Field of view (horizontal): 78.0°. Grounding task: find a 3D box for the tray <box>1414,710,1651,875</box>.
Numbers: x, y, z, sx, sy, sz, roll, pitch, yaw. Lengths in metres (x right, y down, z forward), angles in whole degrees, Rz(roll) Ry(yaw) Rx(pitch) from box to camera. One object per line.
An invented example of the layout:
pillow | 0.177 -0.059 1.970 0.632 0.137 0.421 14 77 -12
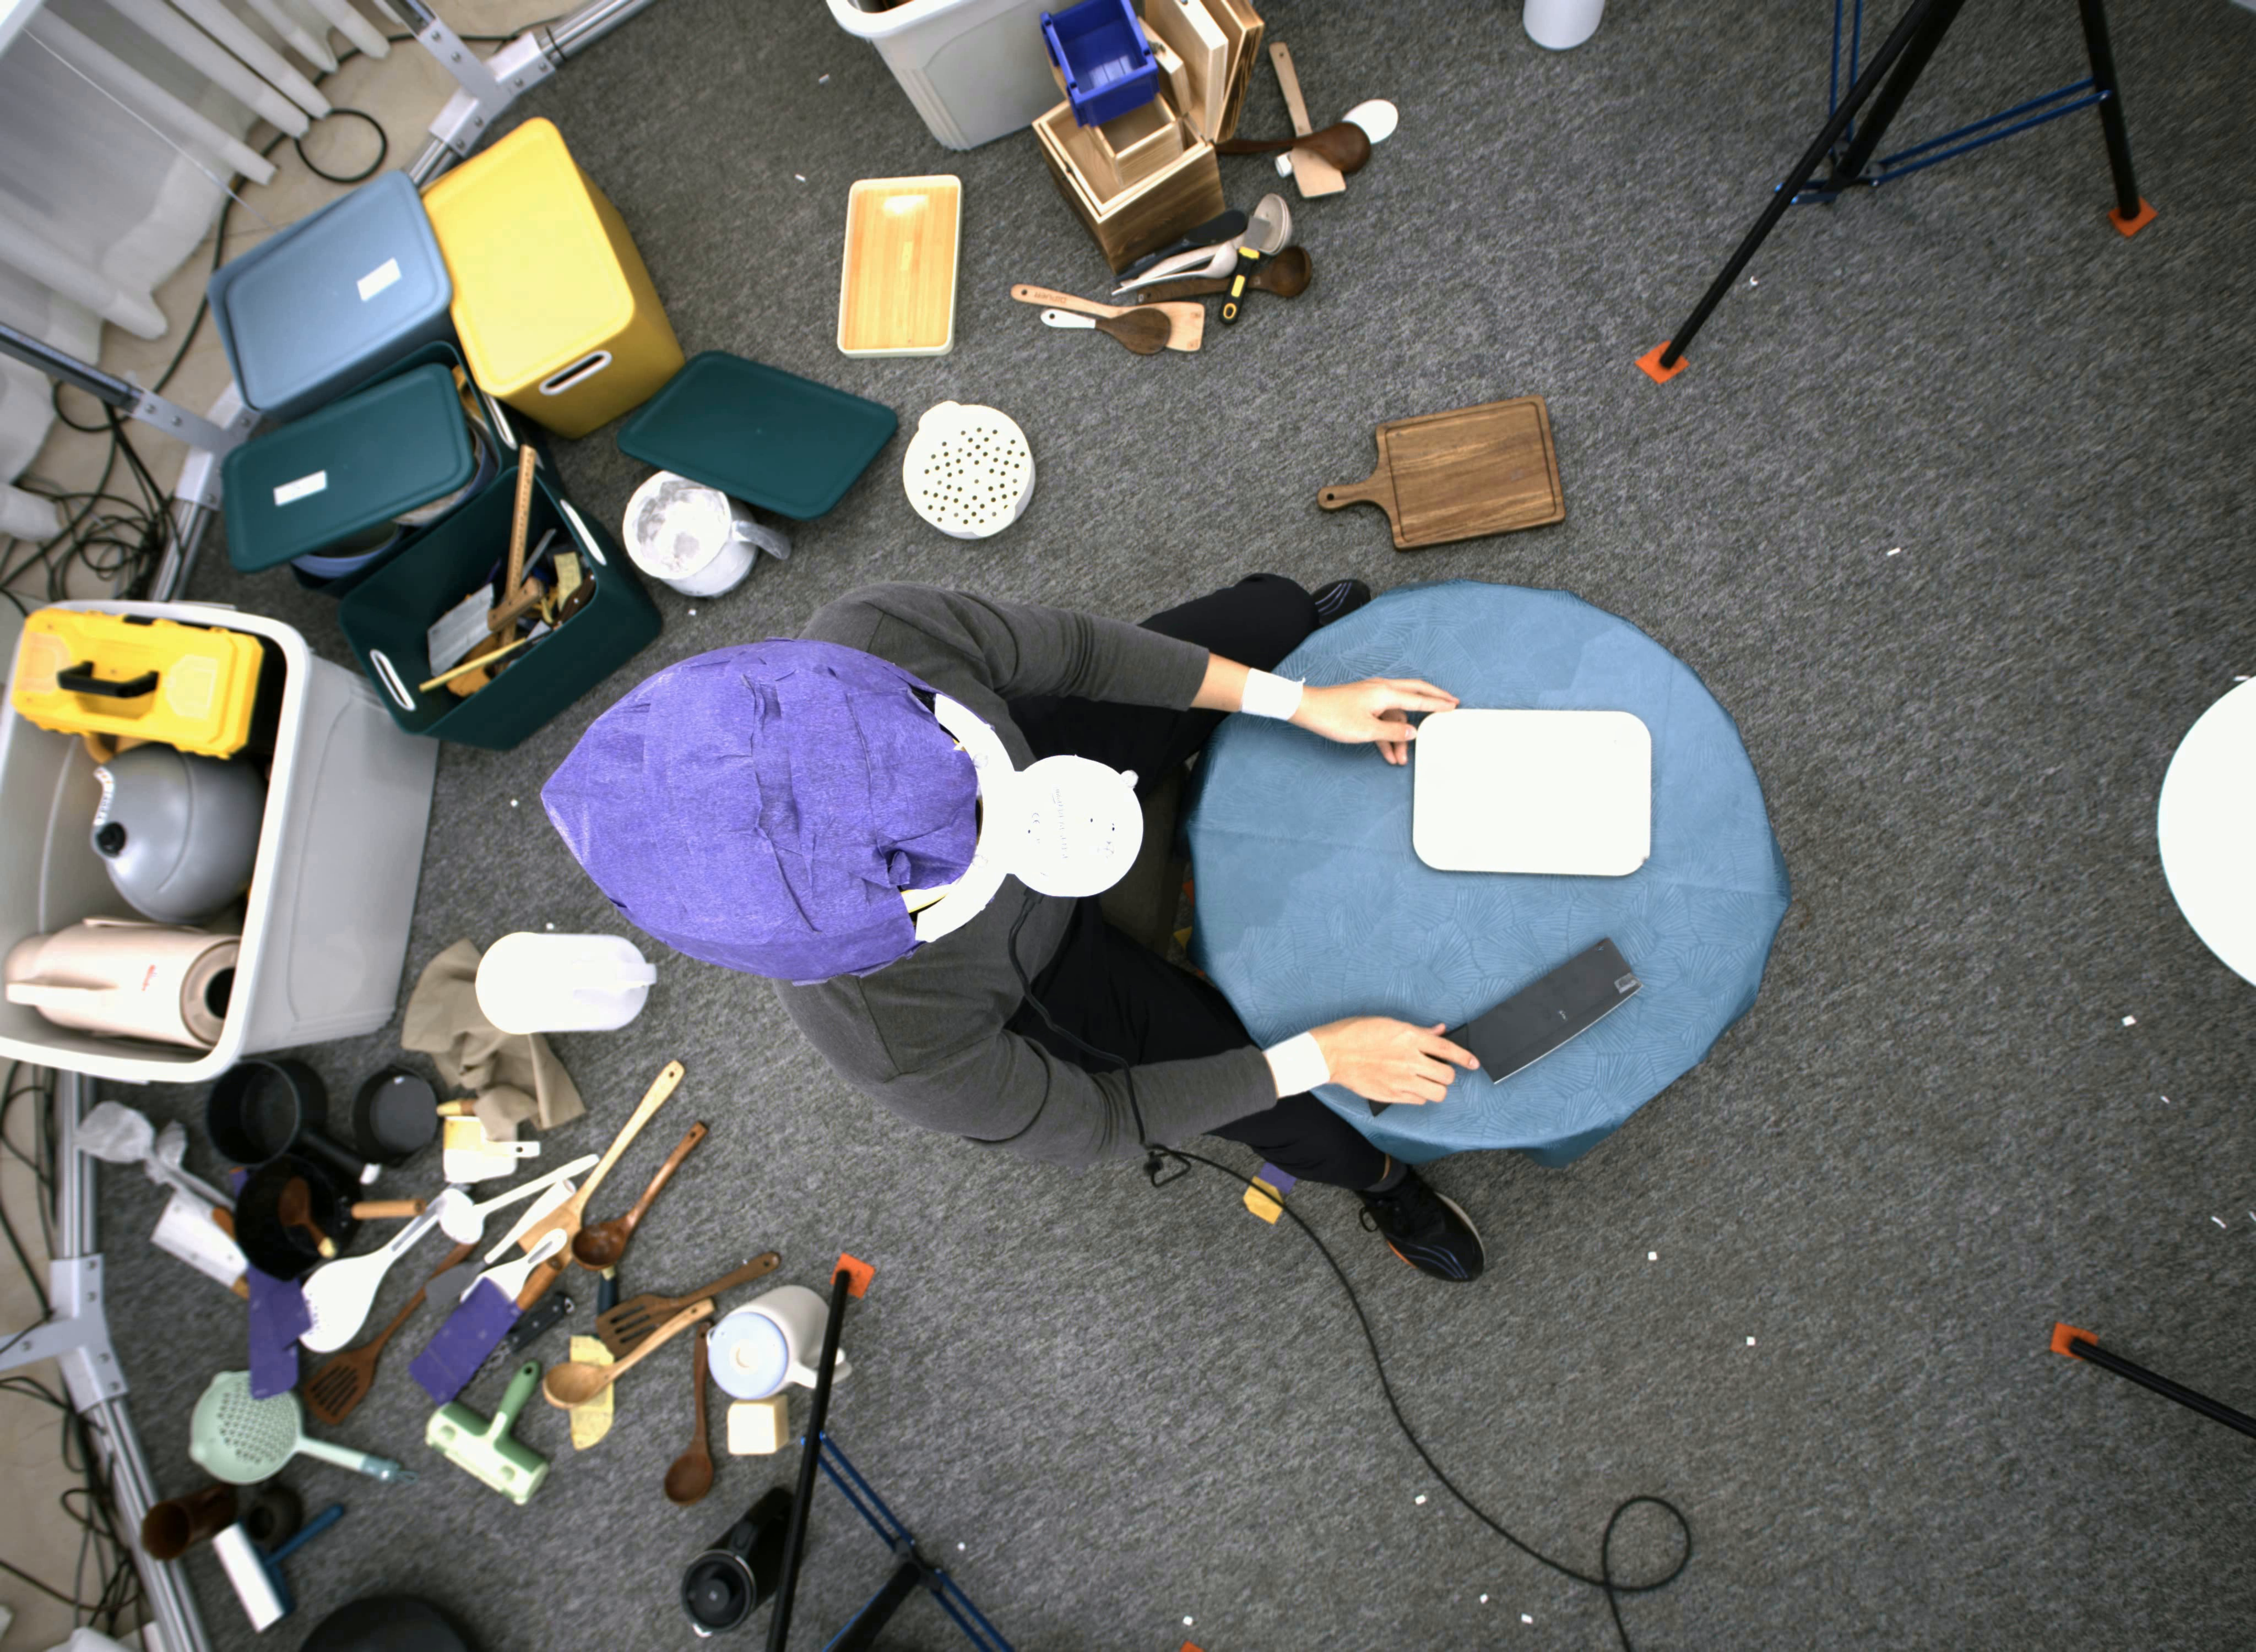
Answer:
tray | 0.420 -0.038 1.429 0.240 0.017 0.170 2 87 11

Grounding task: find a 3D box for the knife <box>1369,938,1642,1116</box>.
knife | 0.380 0.213 1.410 0.304 0.021 0.080 -29 73 8
